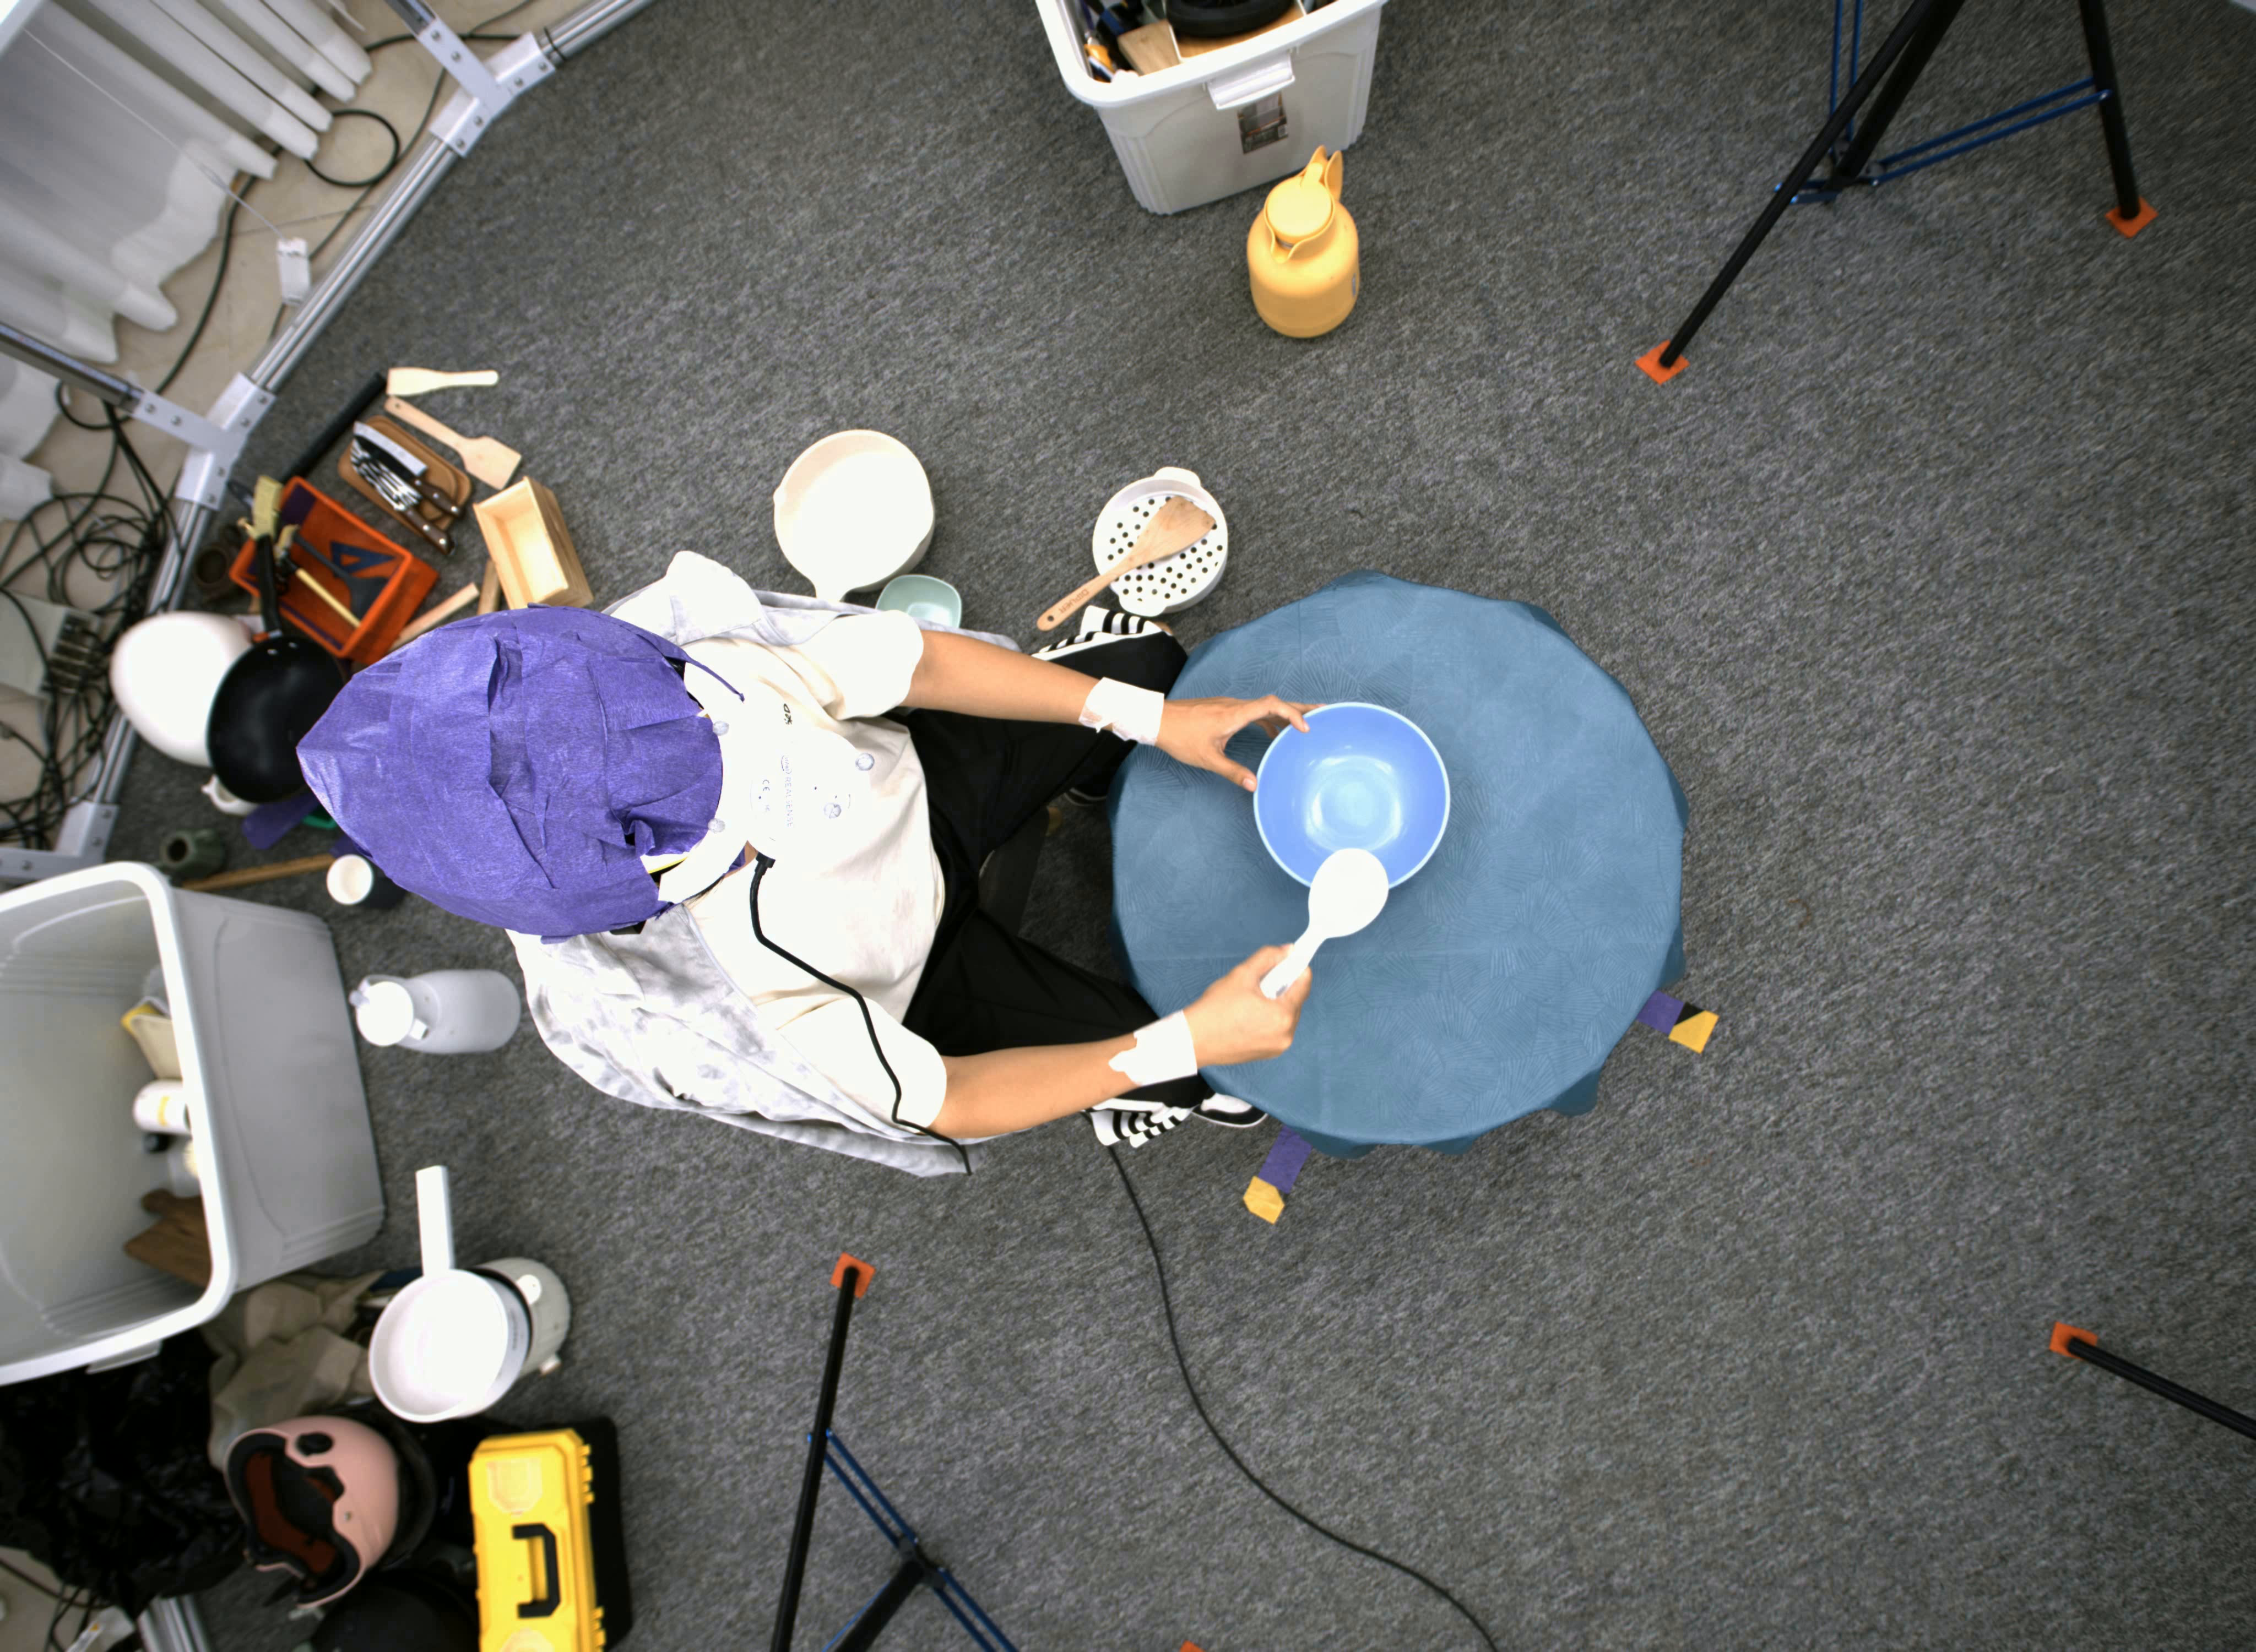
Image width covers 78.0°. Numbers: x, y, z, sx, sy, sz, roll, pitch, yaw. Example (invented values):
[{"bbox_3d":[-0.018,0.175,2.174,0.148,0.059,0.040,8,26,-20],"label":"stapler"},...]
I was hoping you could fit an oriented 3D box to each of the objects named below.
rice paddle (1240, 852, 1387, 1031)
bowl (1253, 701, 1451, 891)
[{"bbox_3d":[0.176,0.105,1.305,0.069,0.030,0.202,40,74,0],"label":"rice paddle"},{"bbox_3d":[0.230,-0.025,1.422,0.197,0.095,0.196,-1,87,9],"label":"bowl"}]
